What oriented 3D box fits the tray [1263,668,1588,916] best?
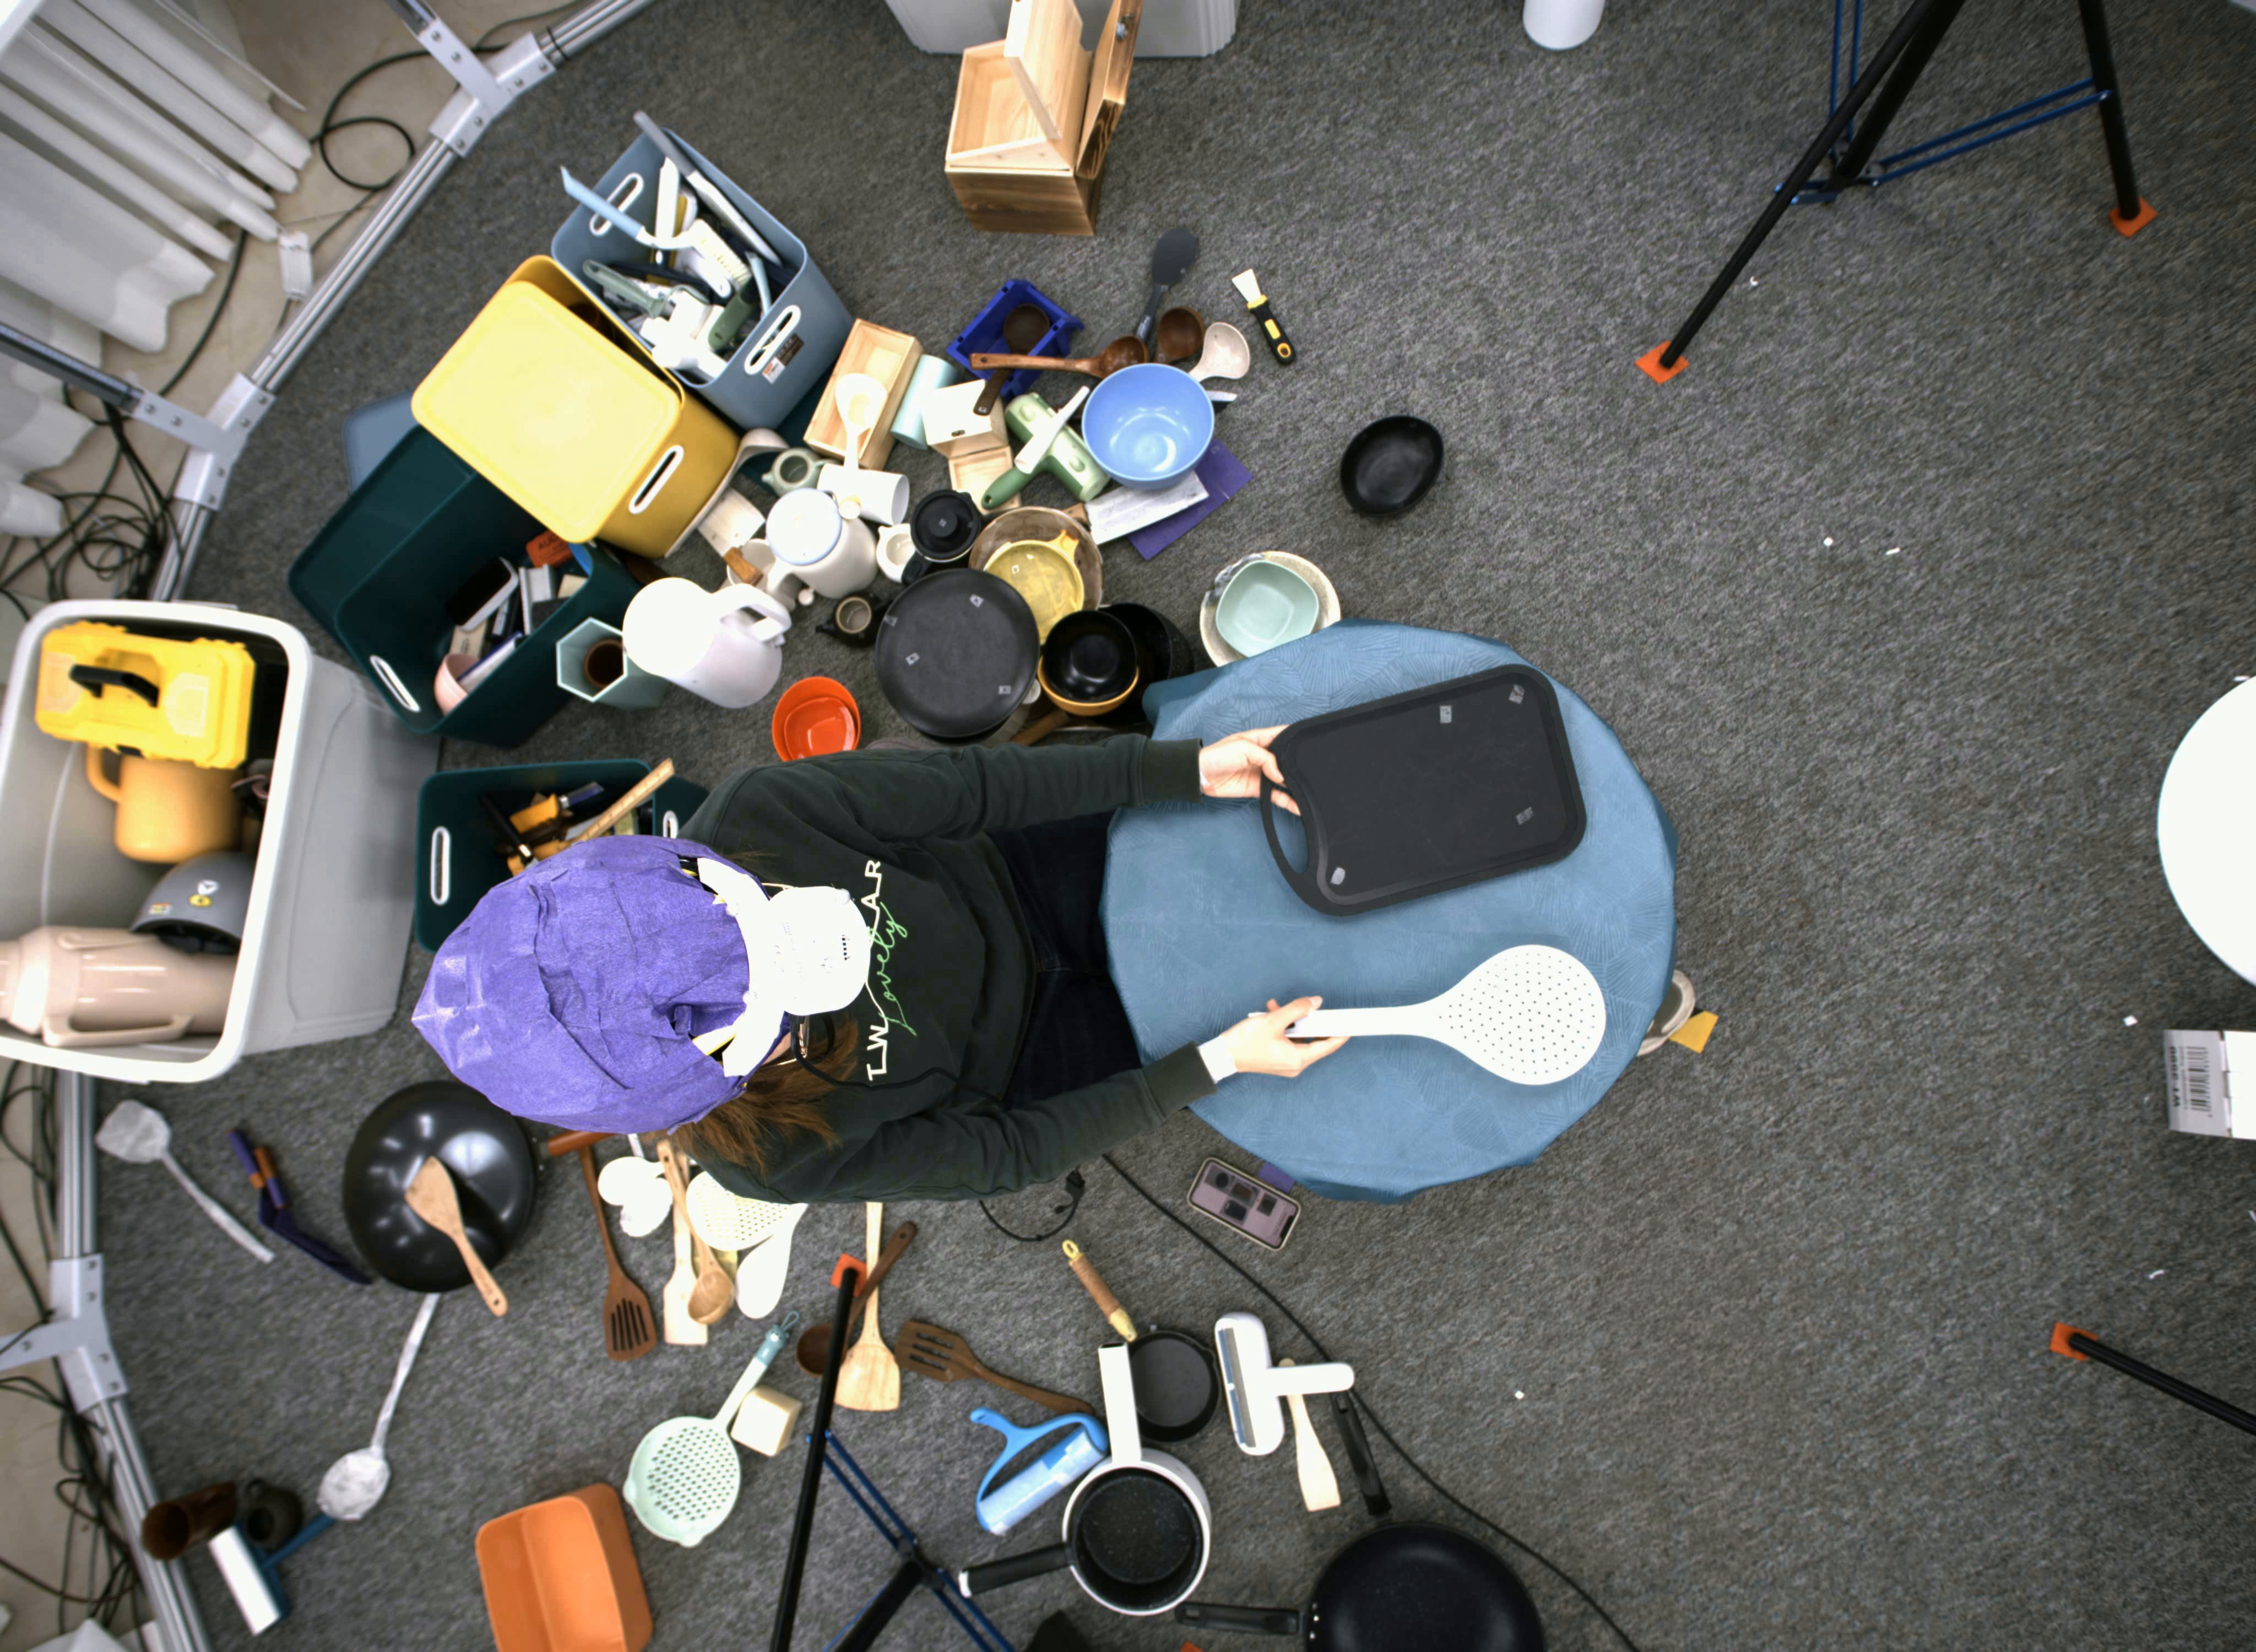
[{"bbox_3d":[0.303,-0.033,1.423,0.326,0.010,0.211,-15,94,5],"label":"tray"}]

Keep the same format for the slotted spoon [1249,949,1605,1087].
[{"bbox_3d":[0.297,0.195,1.391,0.351,0.045,0.136,-4,89,7],"label":"slotted spoon"}]
